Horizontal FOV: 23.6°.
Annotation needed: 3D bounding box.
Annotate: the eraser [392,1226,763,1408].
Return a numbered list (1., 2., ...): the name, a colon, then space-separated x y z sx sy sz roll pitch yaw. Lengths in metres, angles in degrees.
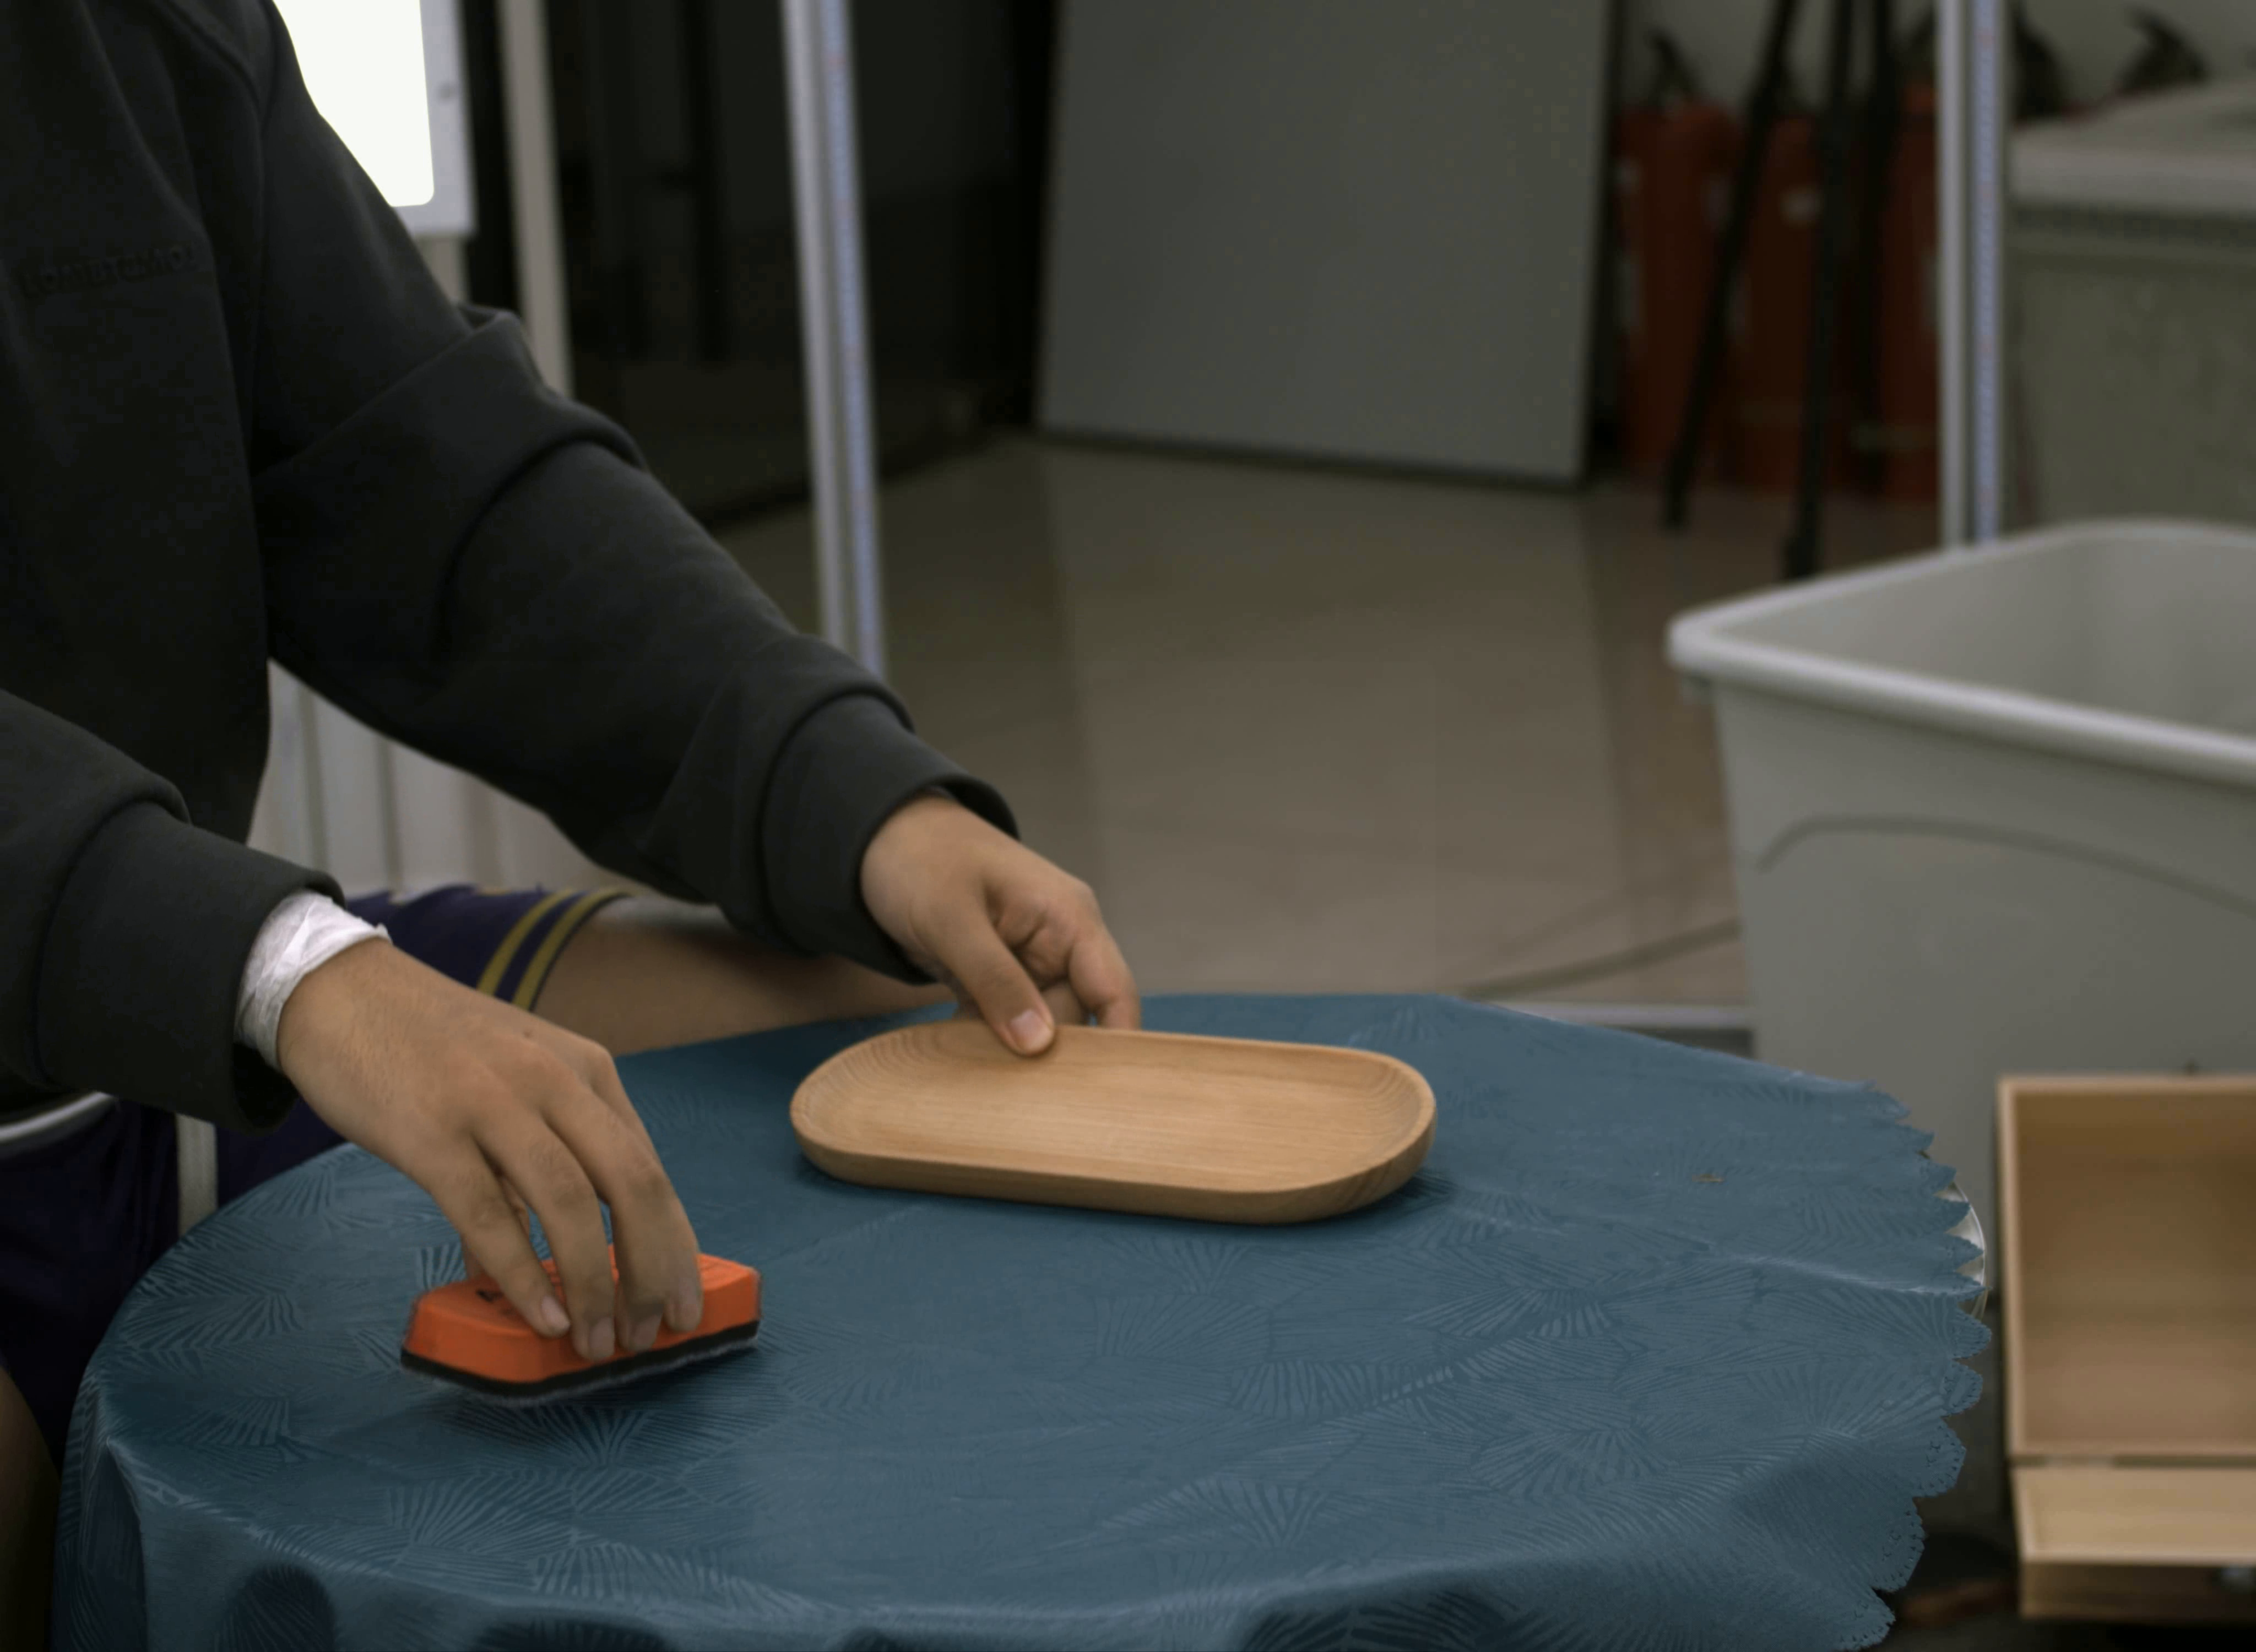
1. eraser: -0.163 0.146 1.617 0.059 0.023 0.106 22 21 38

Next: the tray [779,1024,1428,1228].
1. tray: -0.009 0.099 1.793 0.231 0.020 0.100 2 25 27
